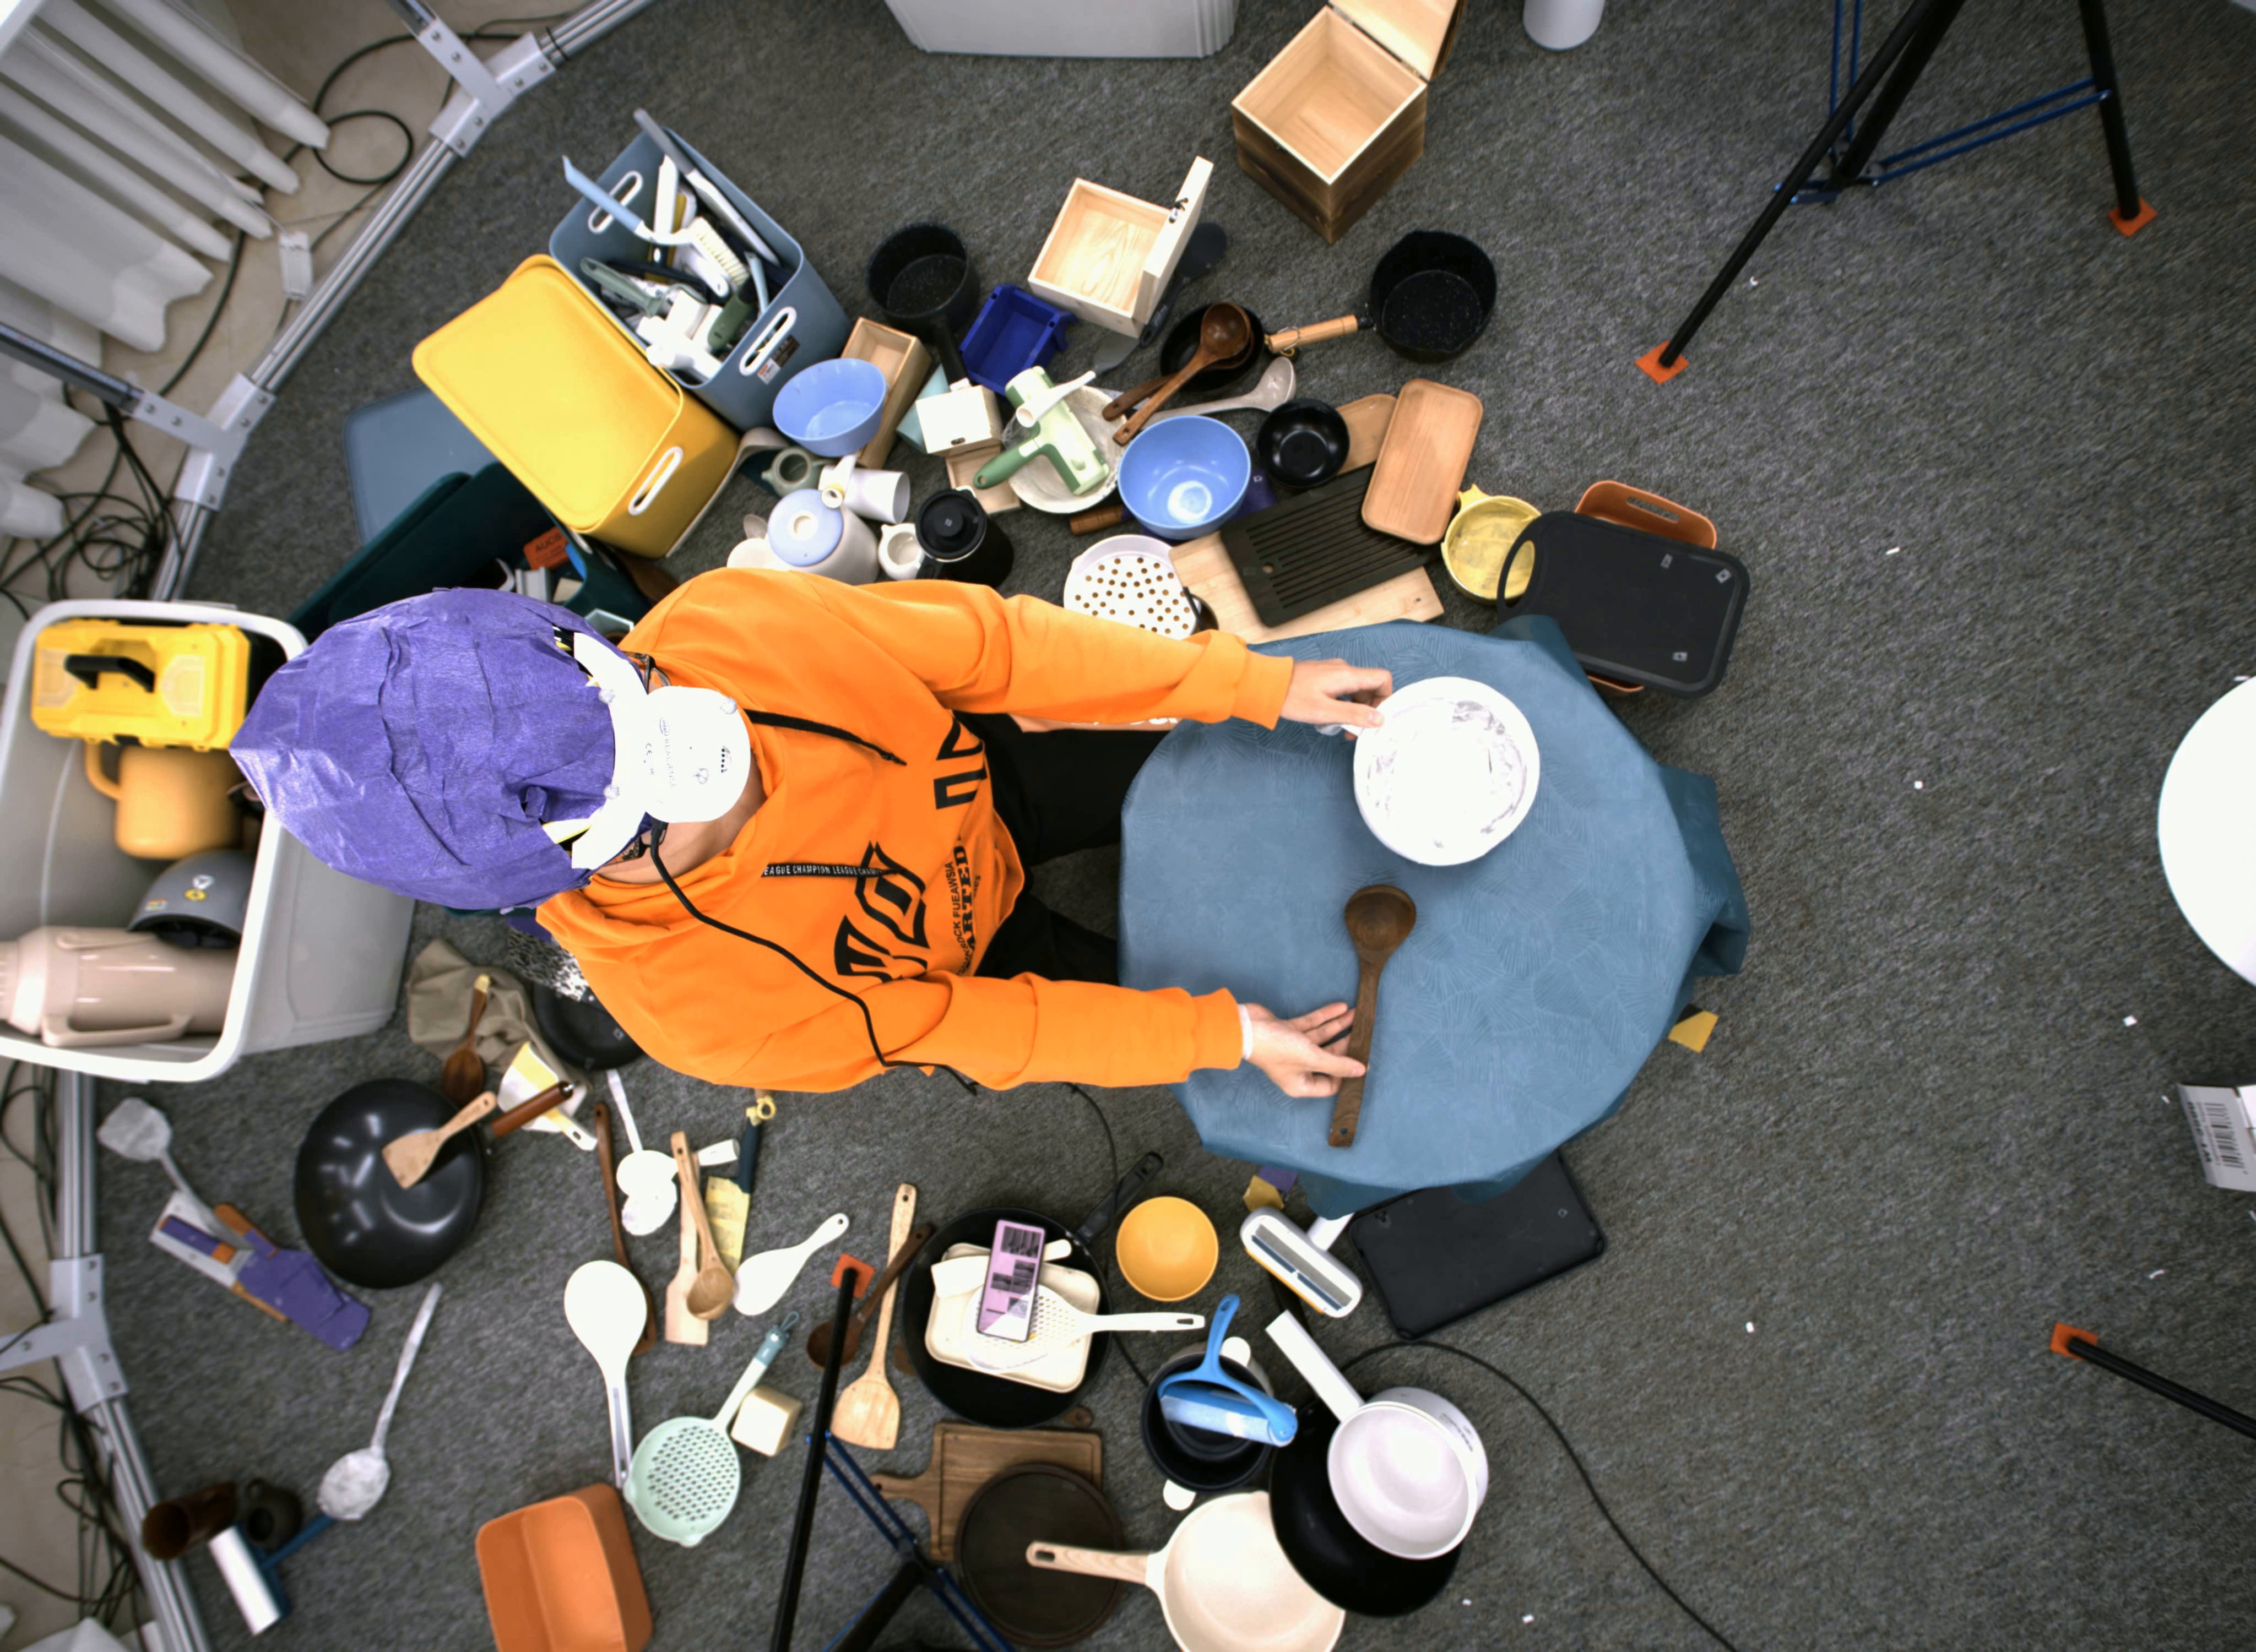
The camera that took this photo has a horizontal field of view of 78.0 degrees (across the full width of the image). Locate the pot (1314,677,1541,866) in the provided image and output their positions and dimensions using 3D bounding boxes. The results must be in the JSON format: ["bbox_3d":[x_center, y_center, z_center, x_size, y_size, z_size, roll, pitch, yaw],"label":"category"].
[{"bbox_3d":[0.294,-0.065,1.393,0.233,0.137,0.179,29,91,10],"label":"pot"}]

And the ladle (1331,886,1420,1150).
[{"bbox_3d":[0.244,0.197,1.420,0.076,0.071,0.273,10,86,9],"label":"ladle"}]
